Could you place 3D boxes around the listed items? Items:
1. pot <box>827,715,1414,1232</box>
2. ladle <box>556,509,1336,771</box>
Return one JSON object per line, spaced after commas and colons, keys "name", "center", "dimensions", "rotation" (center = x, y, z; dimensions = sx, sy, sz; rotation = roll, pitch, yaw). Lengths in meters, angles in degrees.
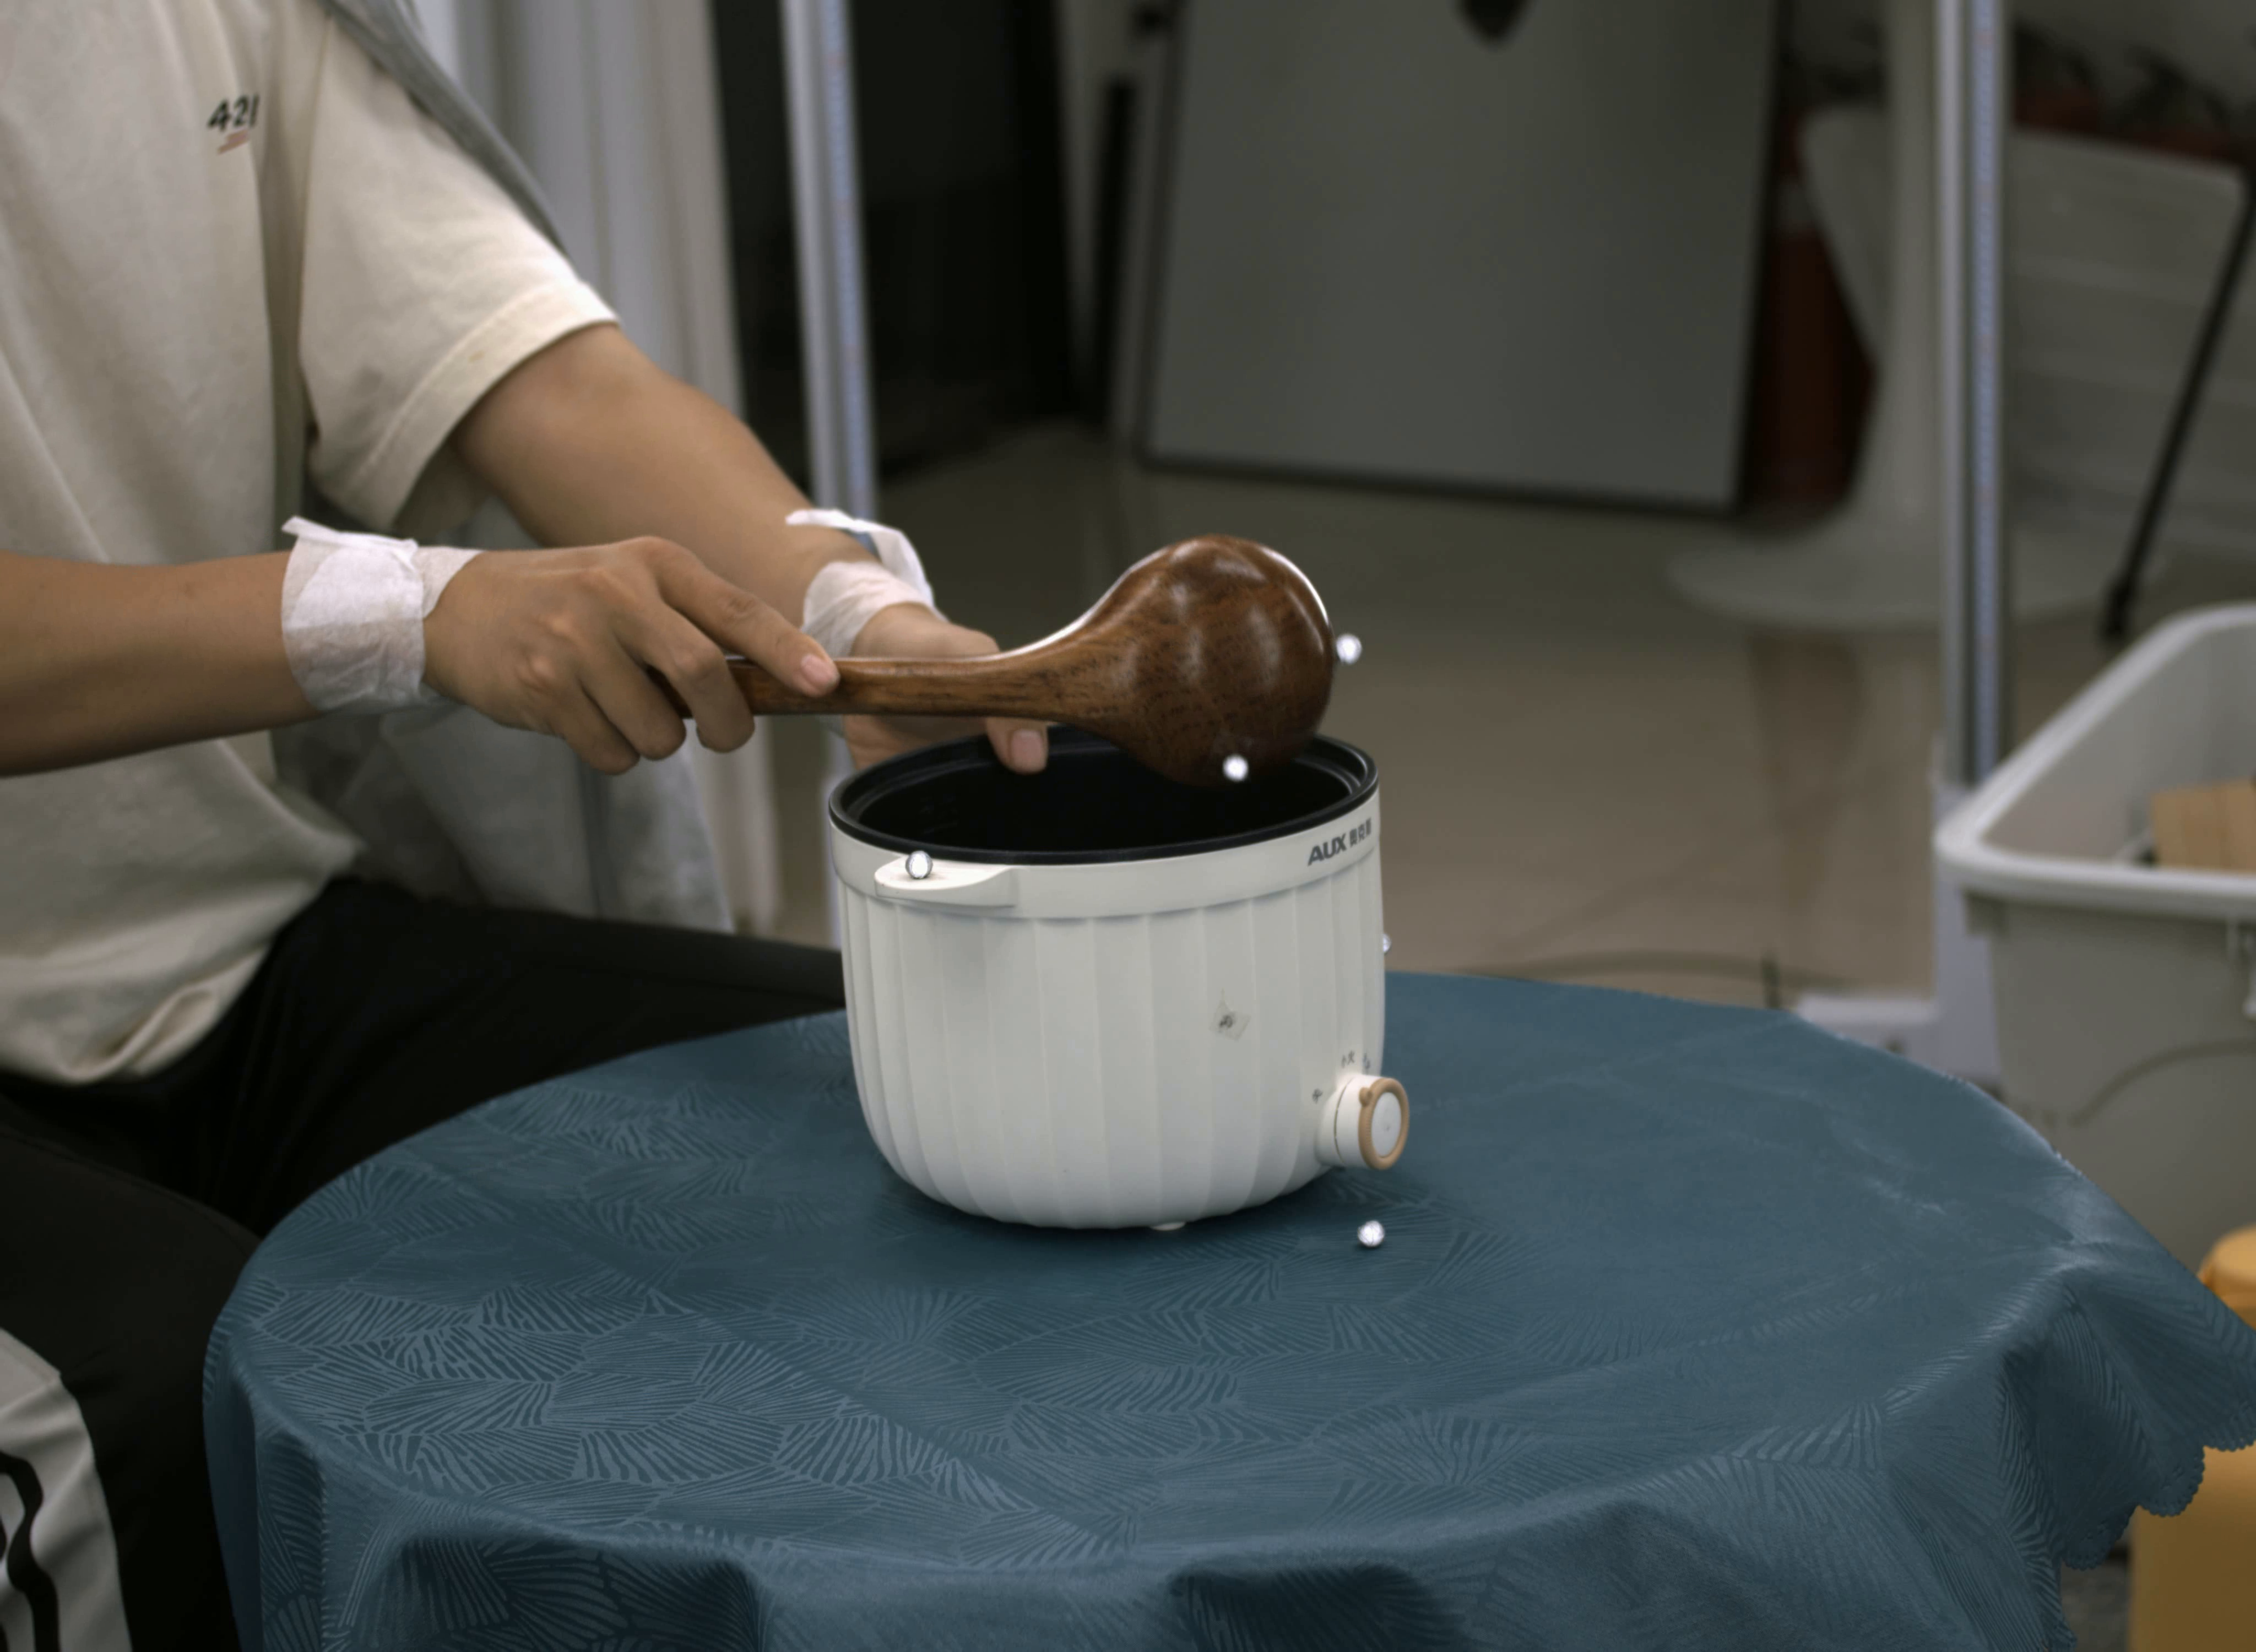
{"name": "pot", "center": [0.001, 0.050, 1.771], "dimensions": [0.191, 0.144, 0.237], "rotation": [1, 15, 32]}
{"name": "ladle", "center": [-0.060, -0.052, 1.766], "dimensions": [0.275, 0.083, 0.075], "rotation": [-4, 3, 34]}
